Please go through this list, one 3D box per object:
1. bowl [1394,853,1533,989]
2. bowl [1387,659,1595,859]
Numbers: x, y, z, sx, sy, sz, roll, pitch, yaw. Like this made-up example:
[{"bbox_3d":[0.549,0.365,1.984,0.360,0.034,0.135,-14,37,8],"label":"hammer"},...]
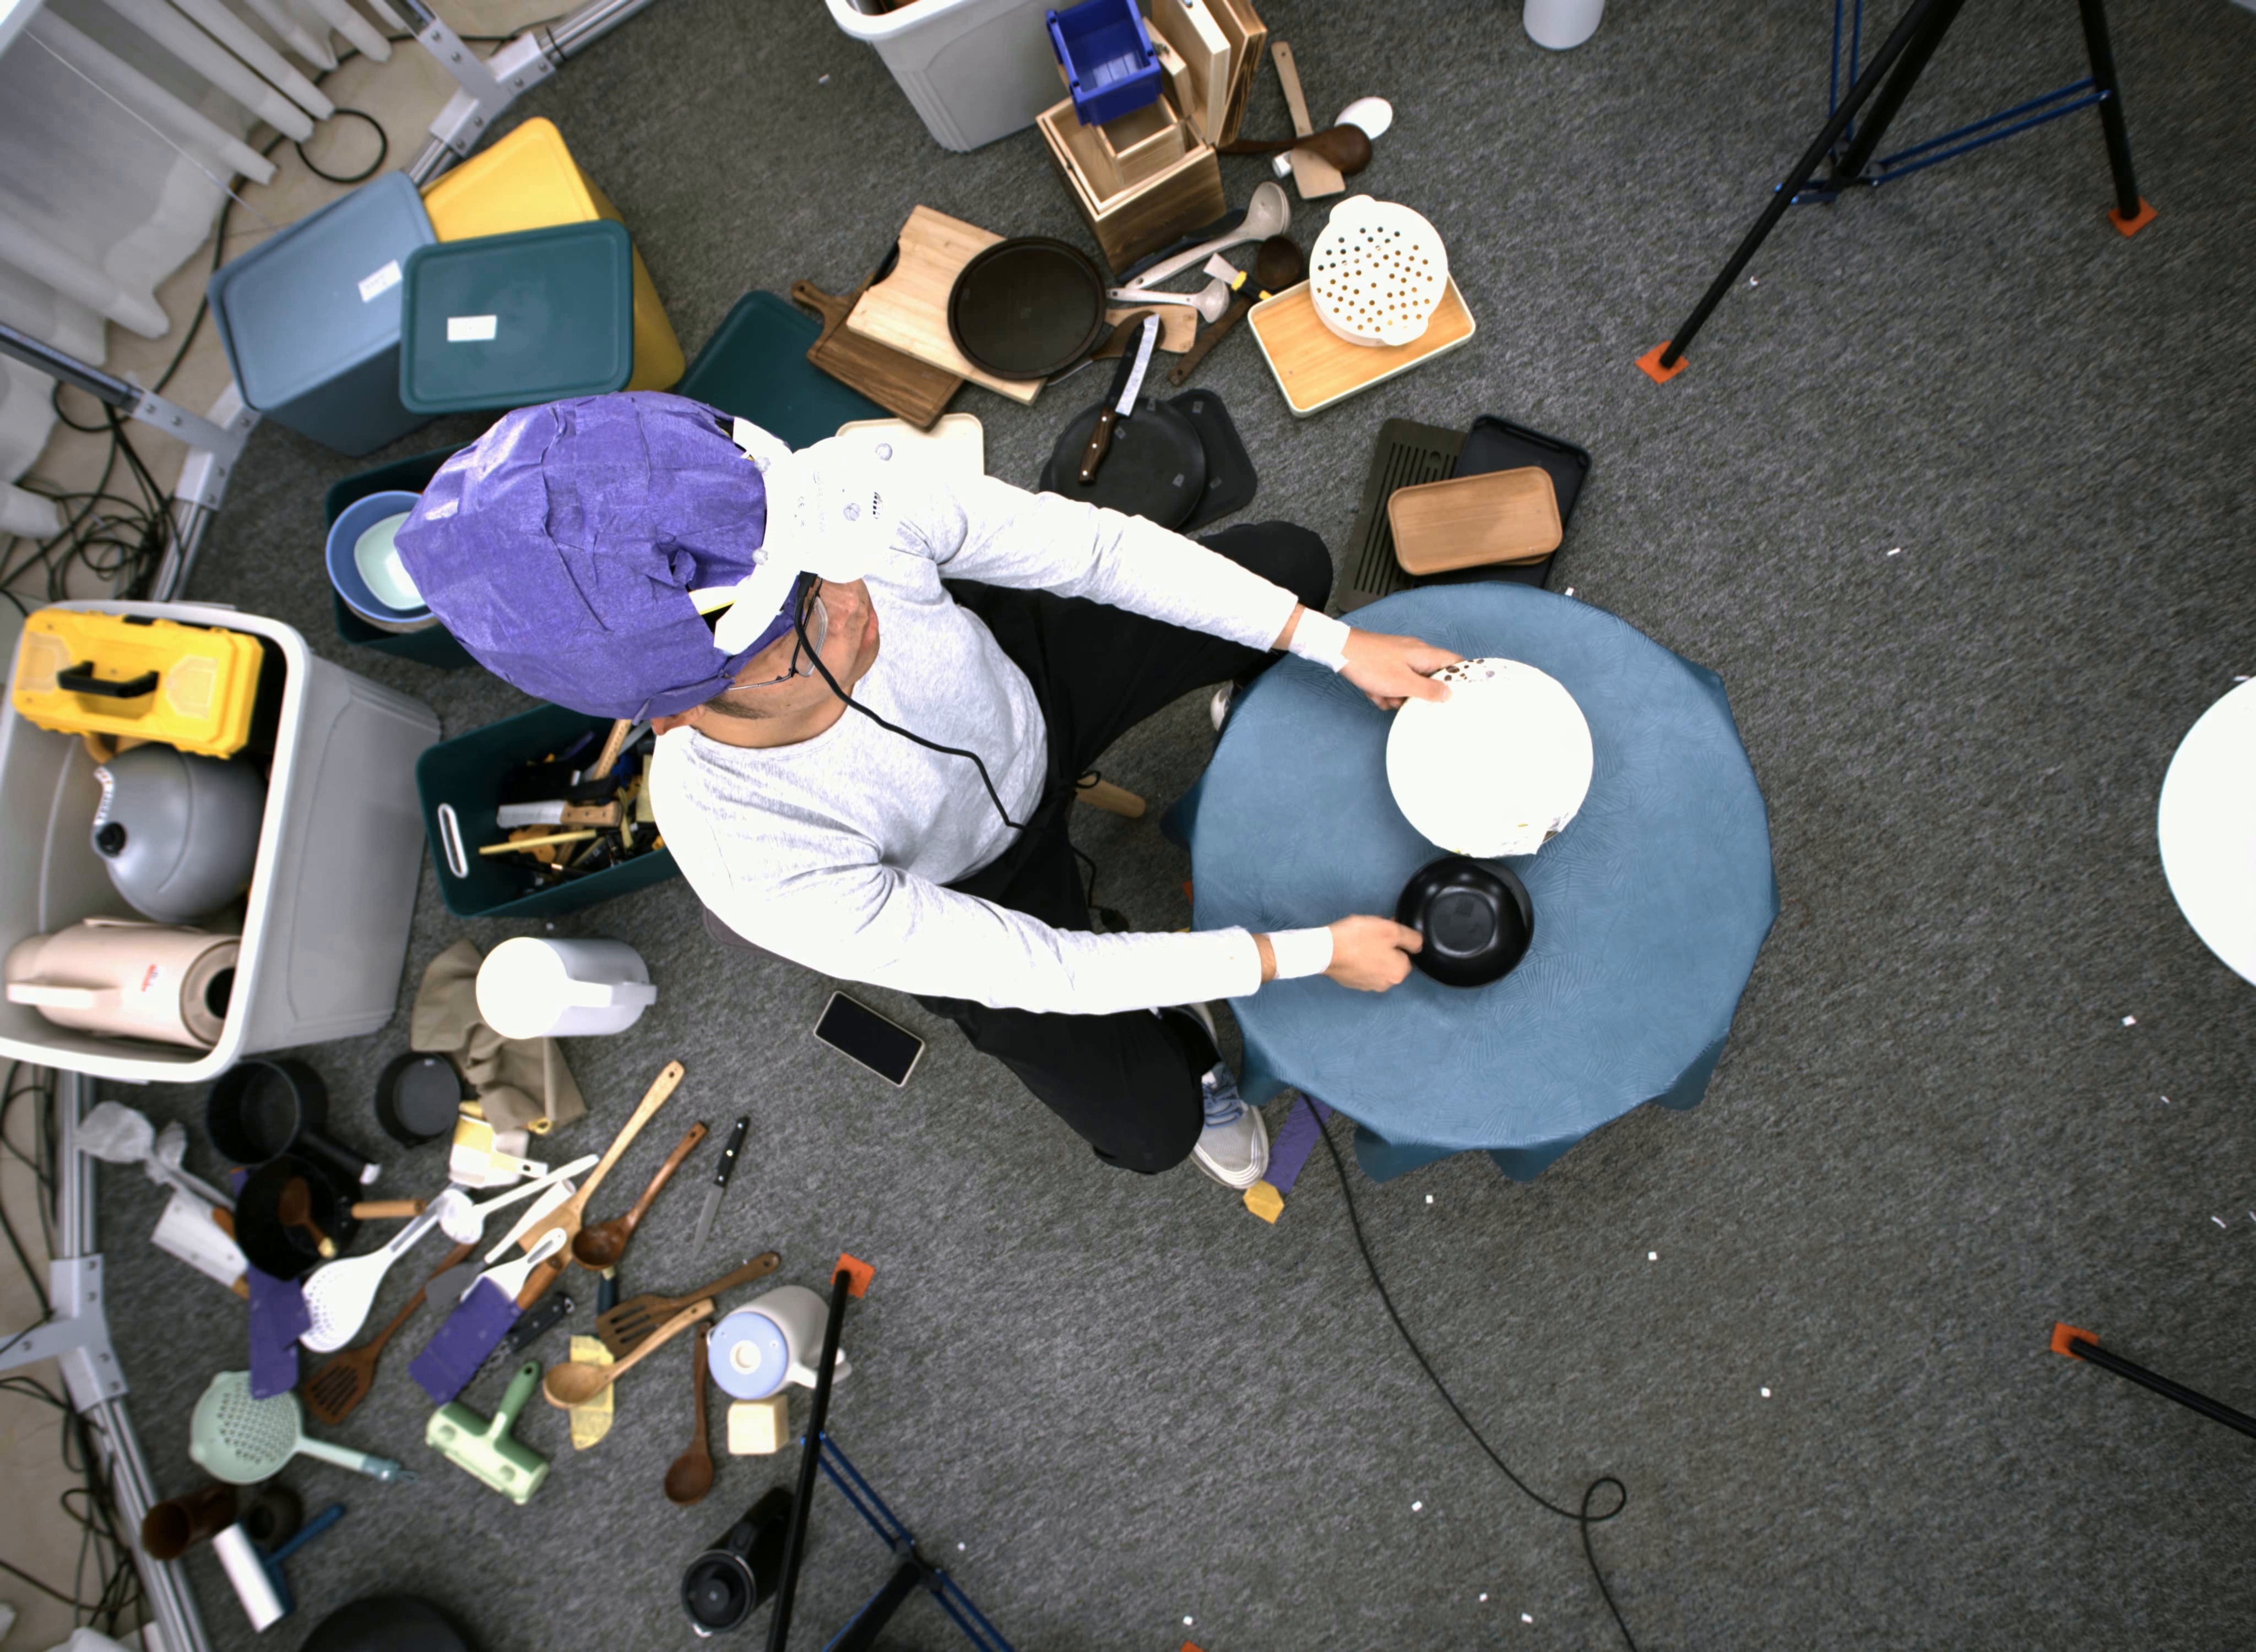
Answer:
[{"bbox_3d":[0.345,0.097,1.422,0.140,0.050,0.139,-2,84,13],"label":"bowl"},{"bbox_3d":[0.369,-0.066,1.409,0.205,0.078,0.203,-1,85,11],"label":"bowl"}]
